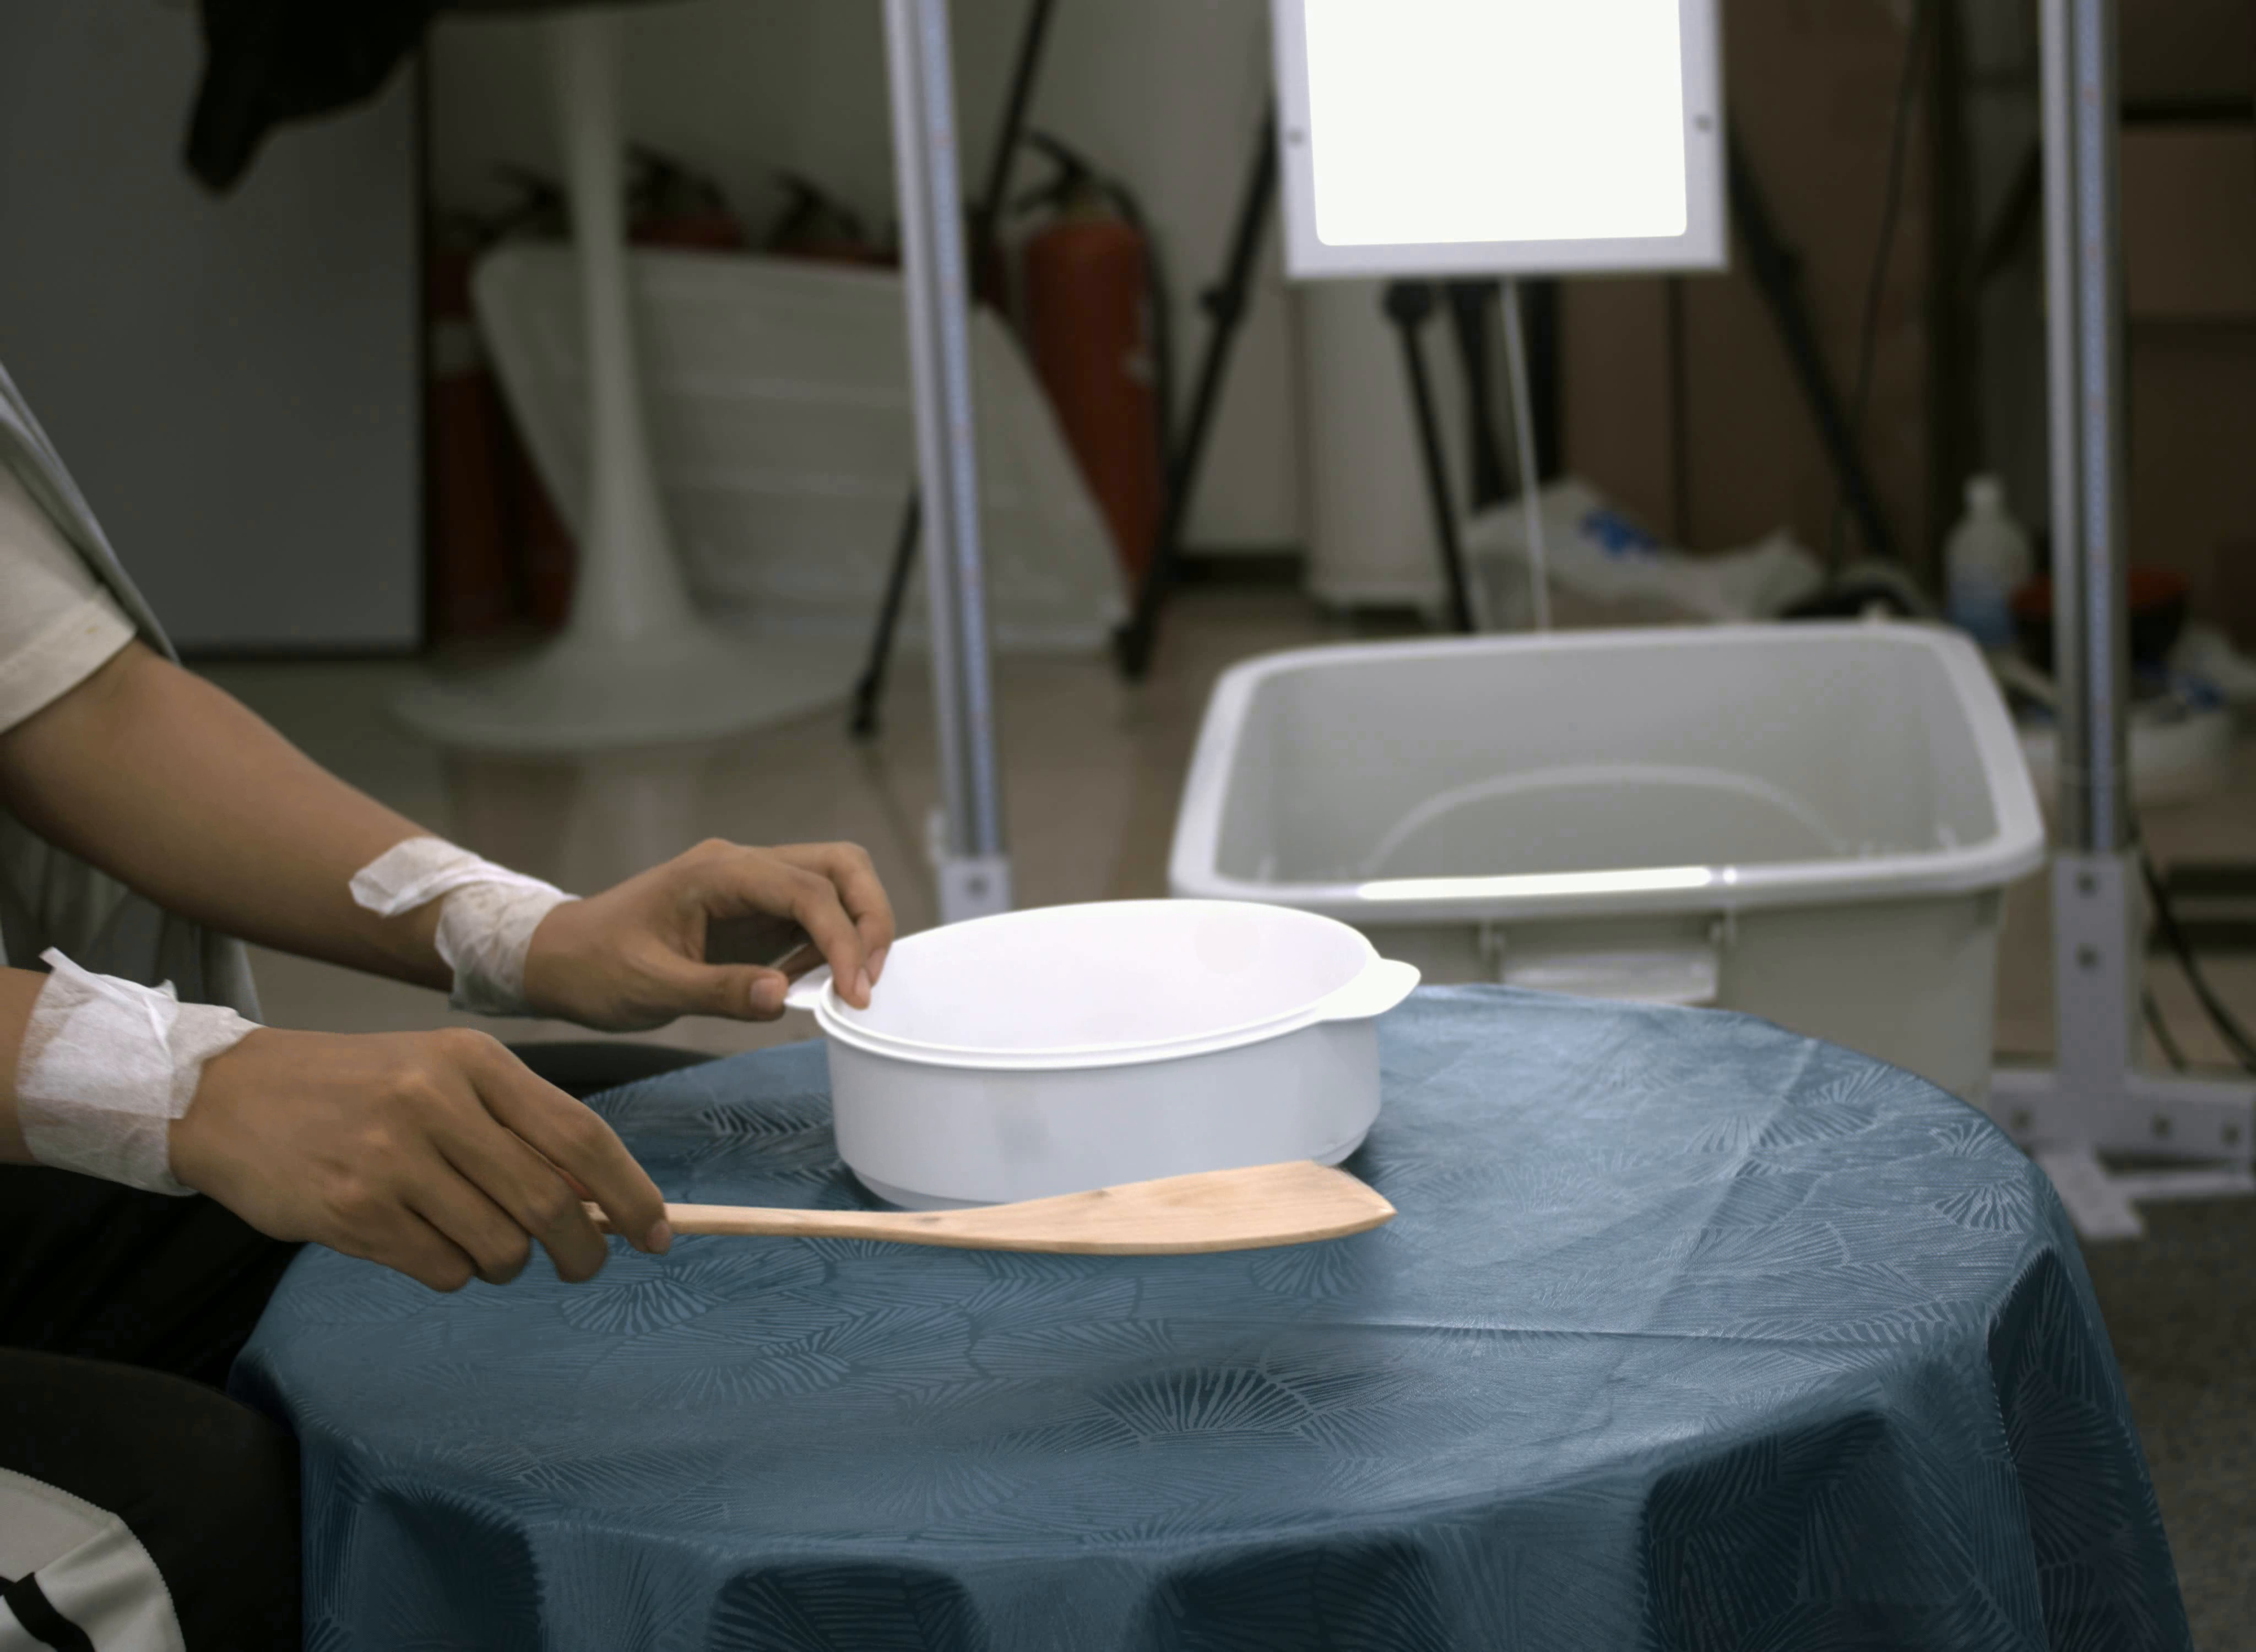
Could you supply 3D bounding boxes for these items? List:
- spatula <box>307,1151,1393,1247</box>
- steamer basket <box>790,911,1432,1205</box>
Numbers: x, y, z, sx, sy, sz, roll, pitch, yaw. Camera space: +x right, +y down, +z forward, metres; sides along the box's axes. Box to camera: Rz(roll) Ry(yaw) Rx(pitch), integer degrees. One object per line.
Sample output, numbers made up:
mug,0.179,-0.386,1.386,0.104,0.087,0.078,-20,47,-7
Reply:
spatula,-0.085,0.115,1.680,0.325,0.016,0.080,0,11,-4
steamer basket,-0.005,0.084,1.933,0.234,0.069,0.198,-1,13,21
